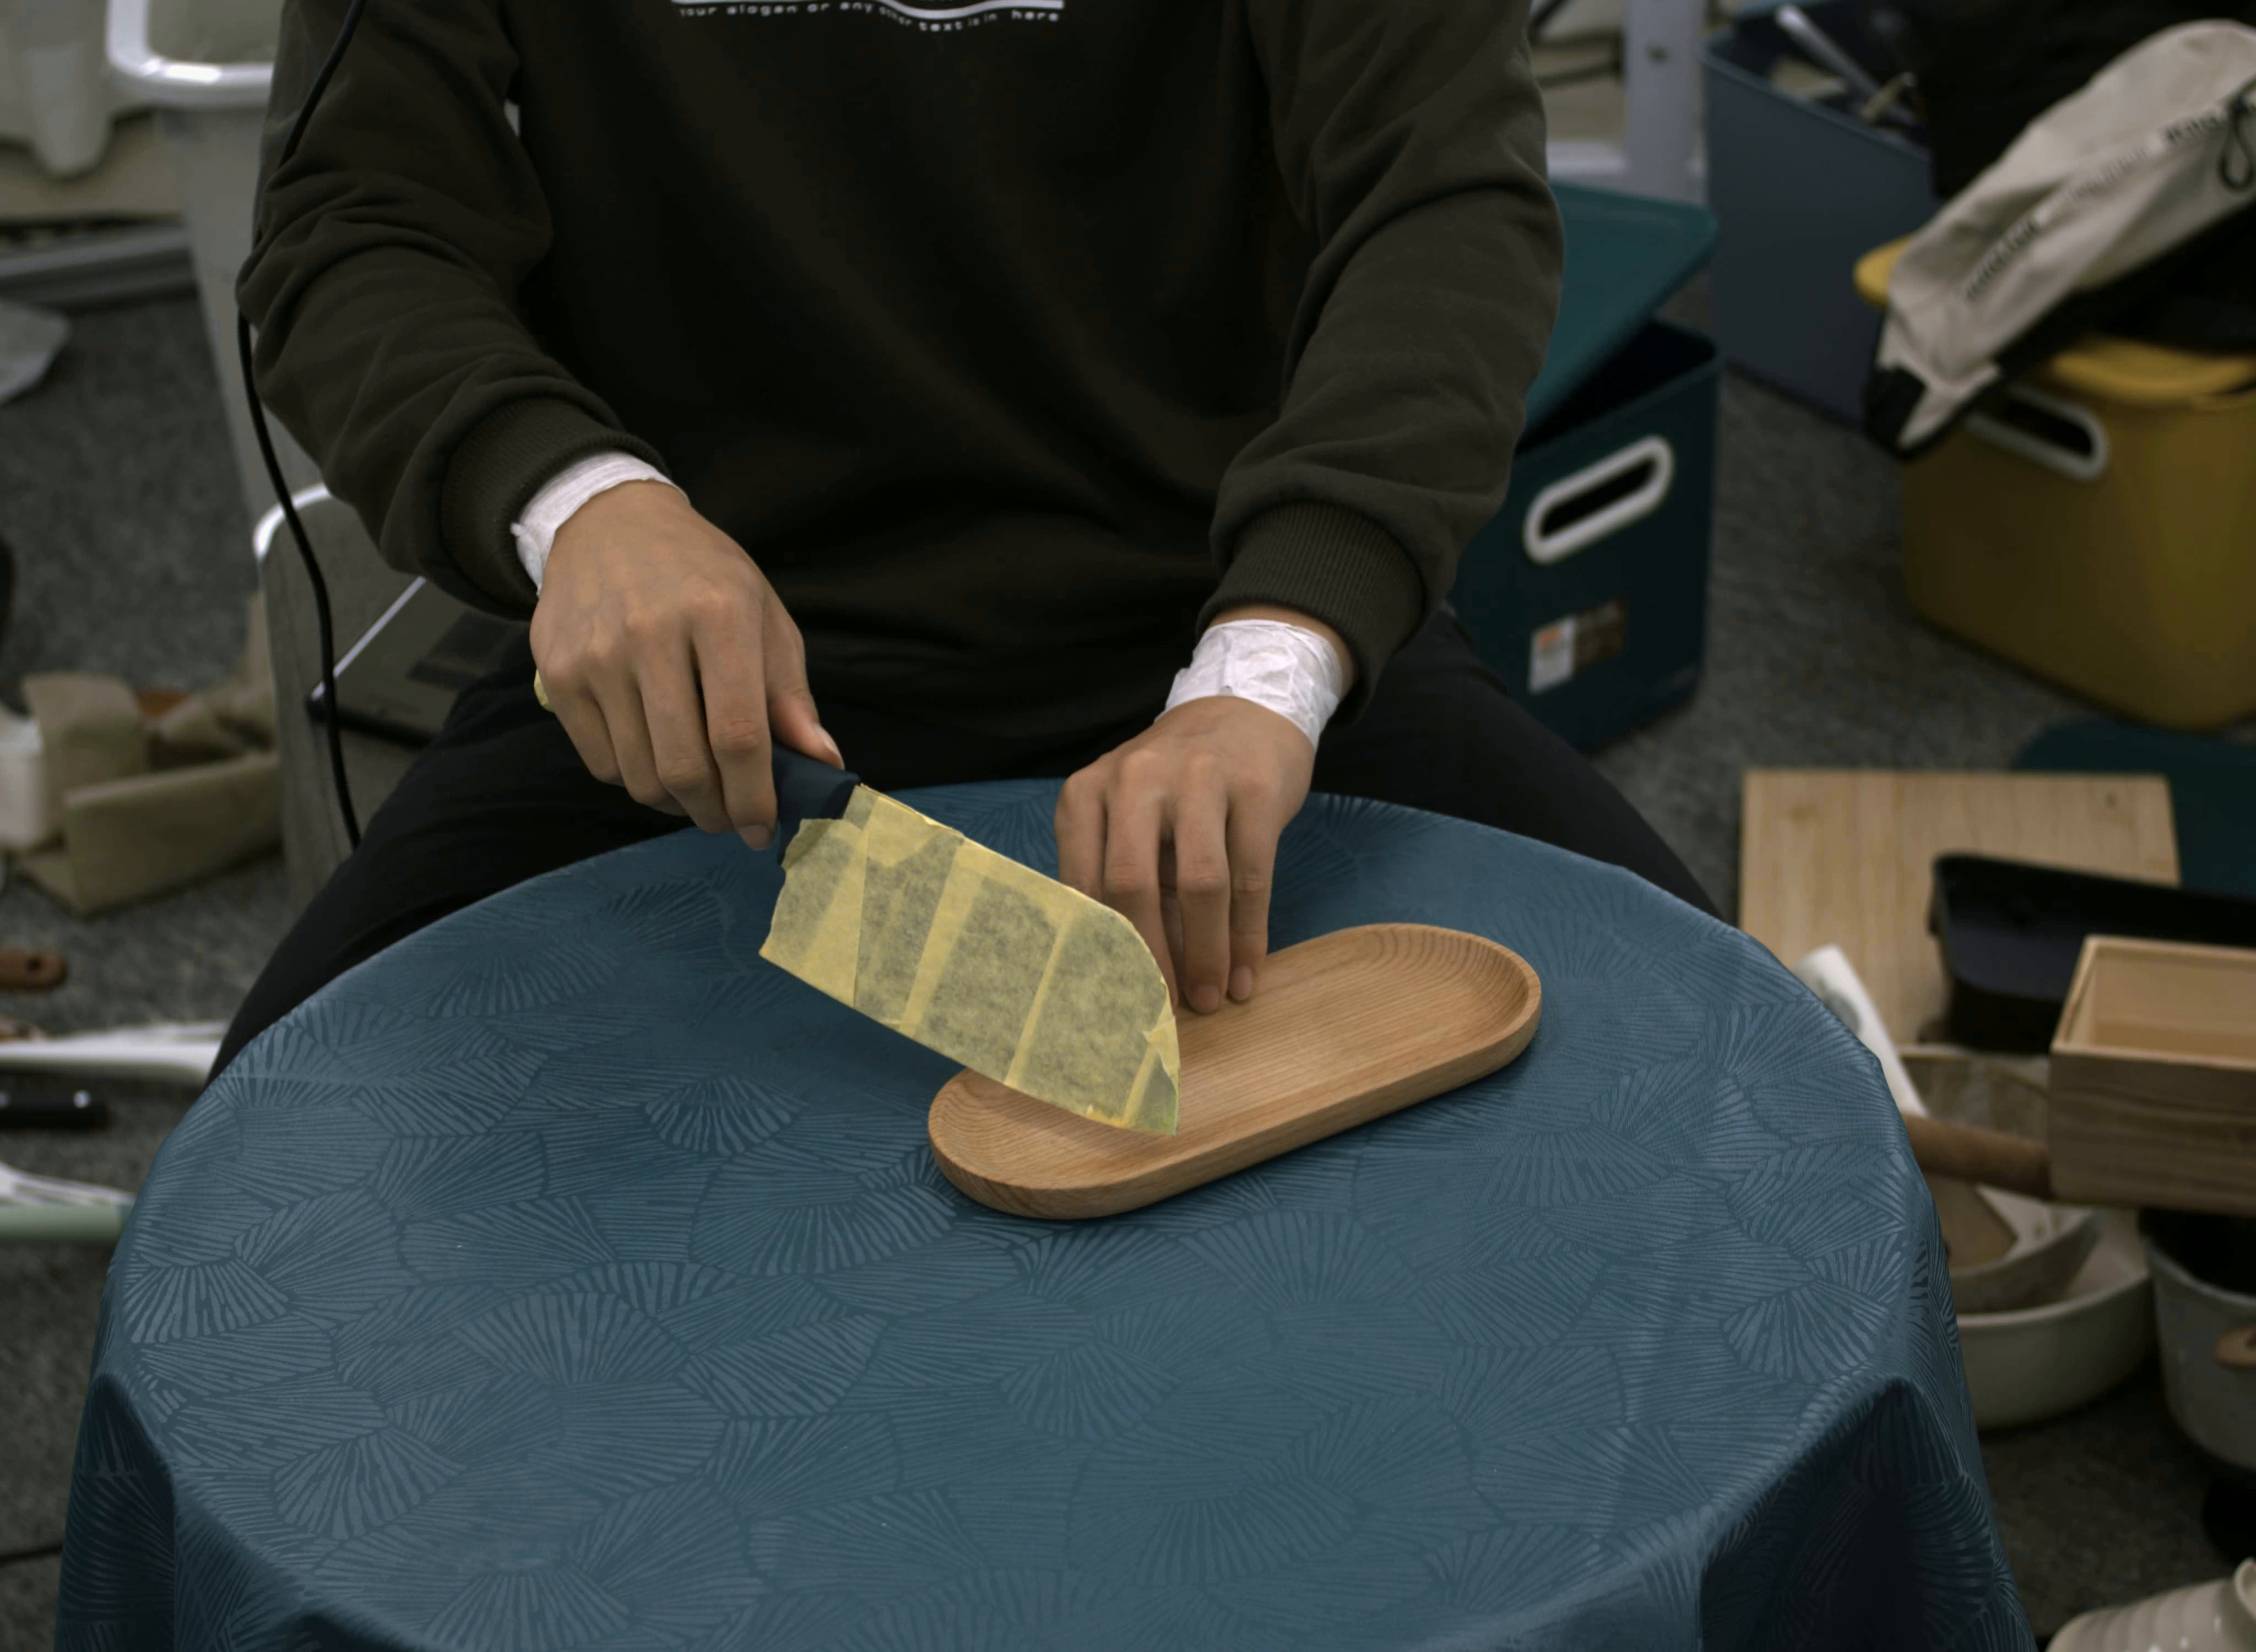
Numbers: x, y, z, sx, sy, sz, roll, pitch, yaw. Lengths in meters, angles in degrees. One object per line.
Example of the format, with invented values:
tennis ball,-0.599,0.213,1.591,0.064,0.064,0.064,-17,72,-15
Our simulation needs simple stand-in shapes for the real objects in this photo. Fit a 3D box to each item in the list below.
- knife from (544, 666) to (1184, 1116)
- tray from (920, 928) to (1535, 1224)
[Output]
knife,-0.094,0.020,1.920,0.289,0.081,0.027,29,11,28
tray,0.036,0.084,1.912,0.233,0.020,0.102,-20,30,-28
